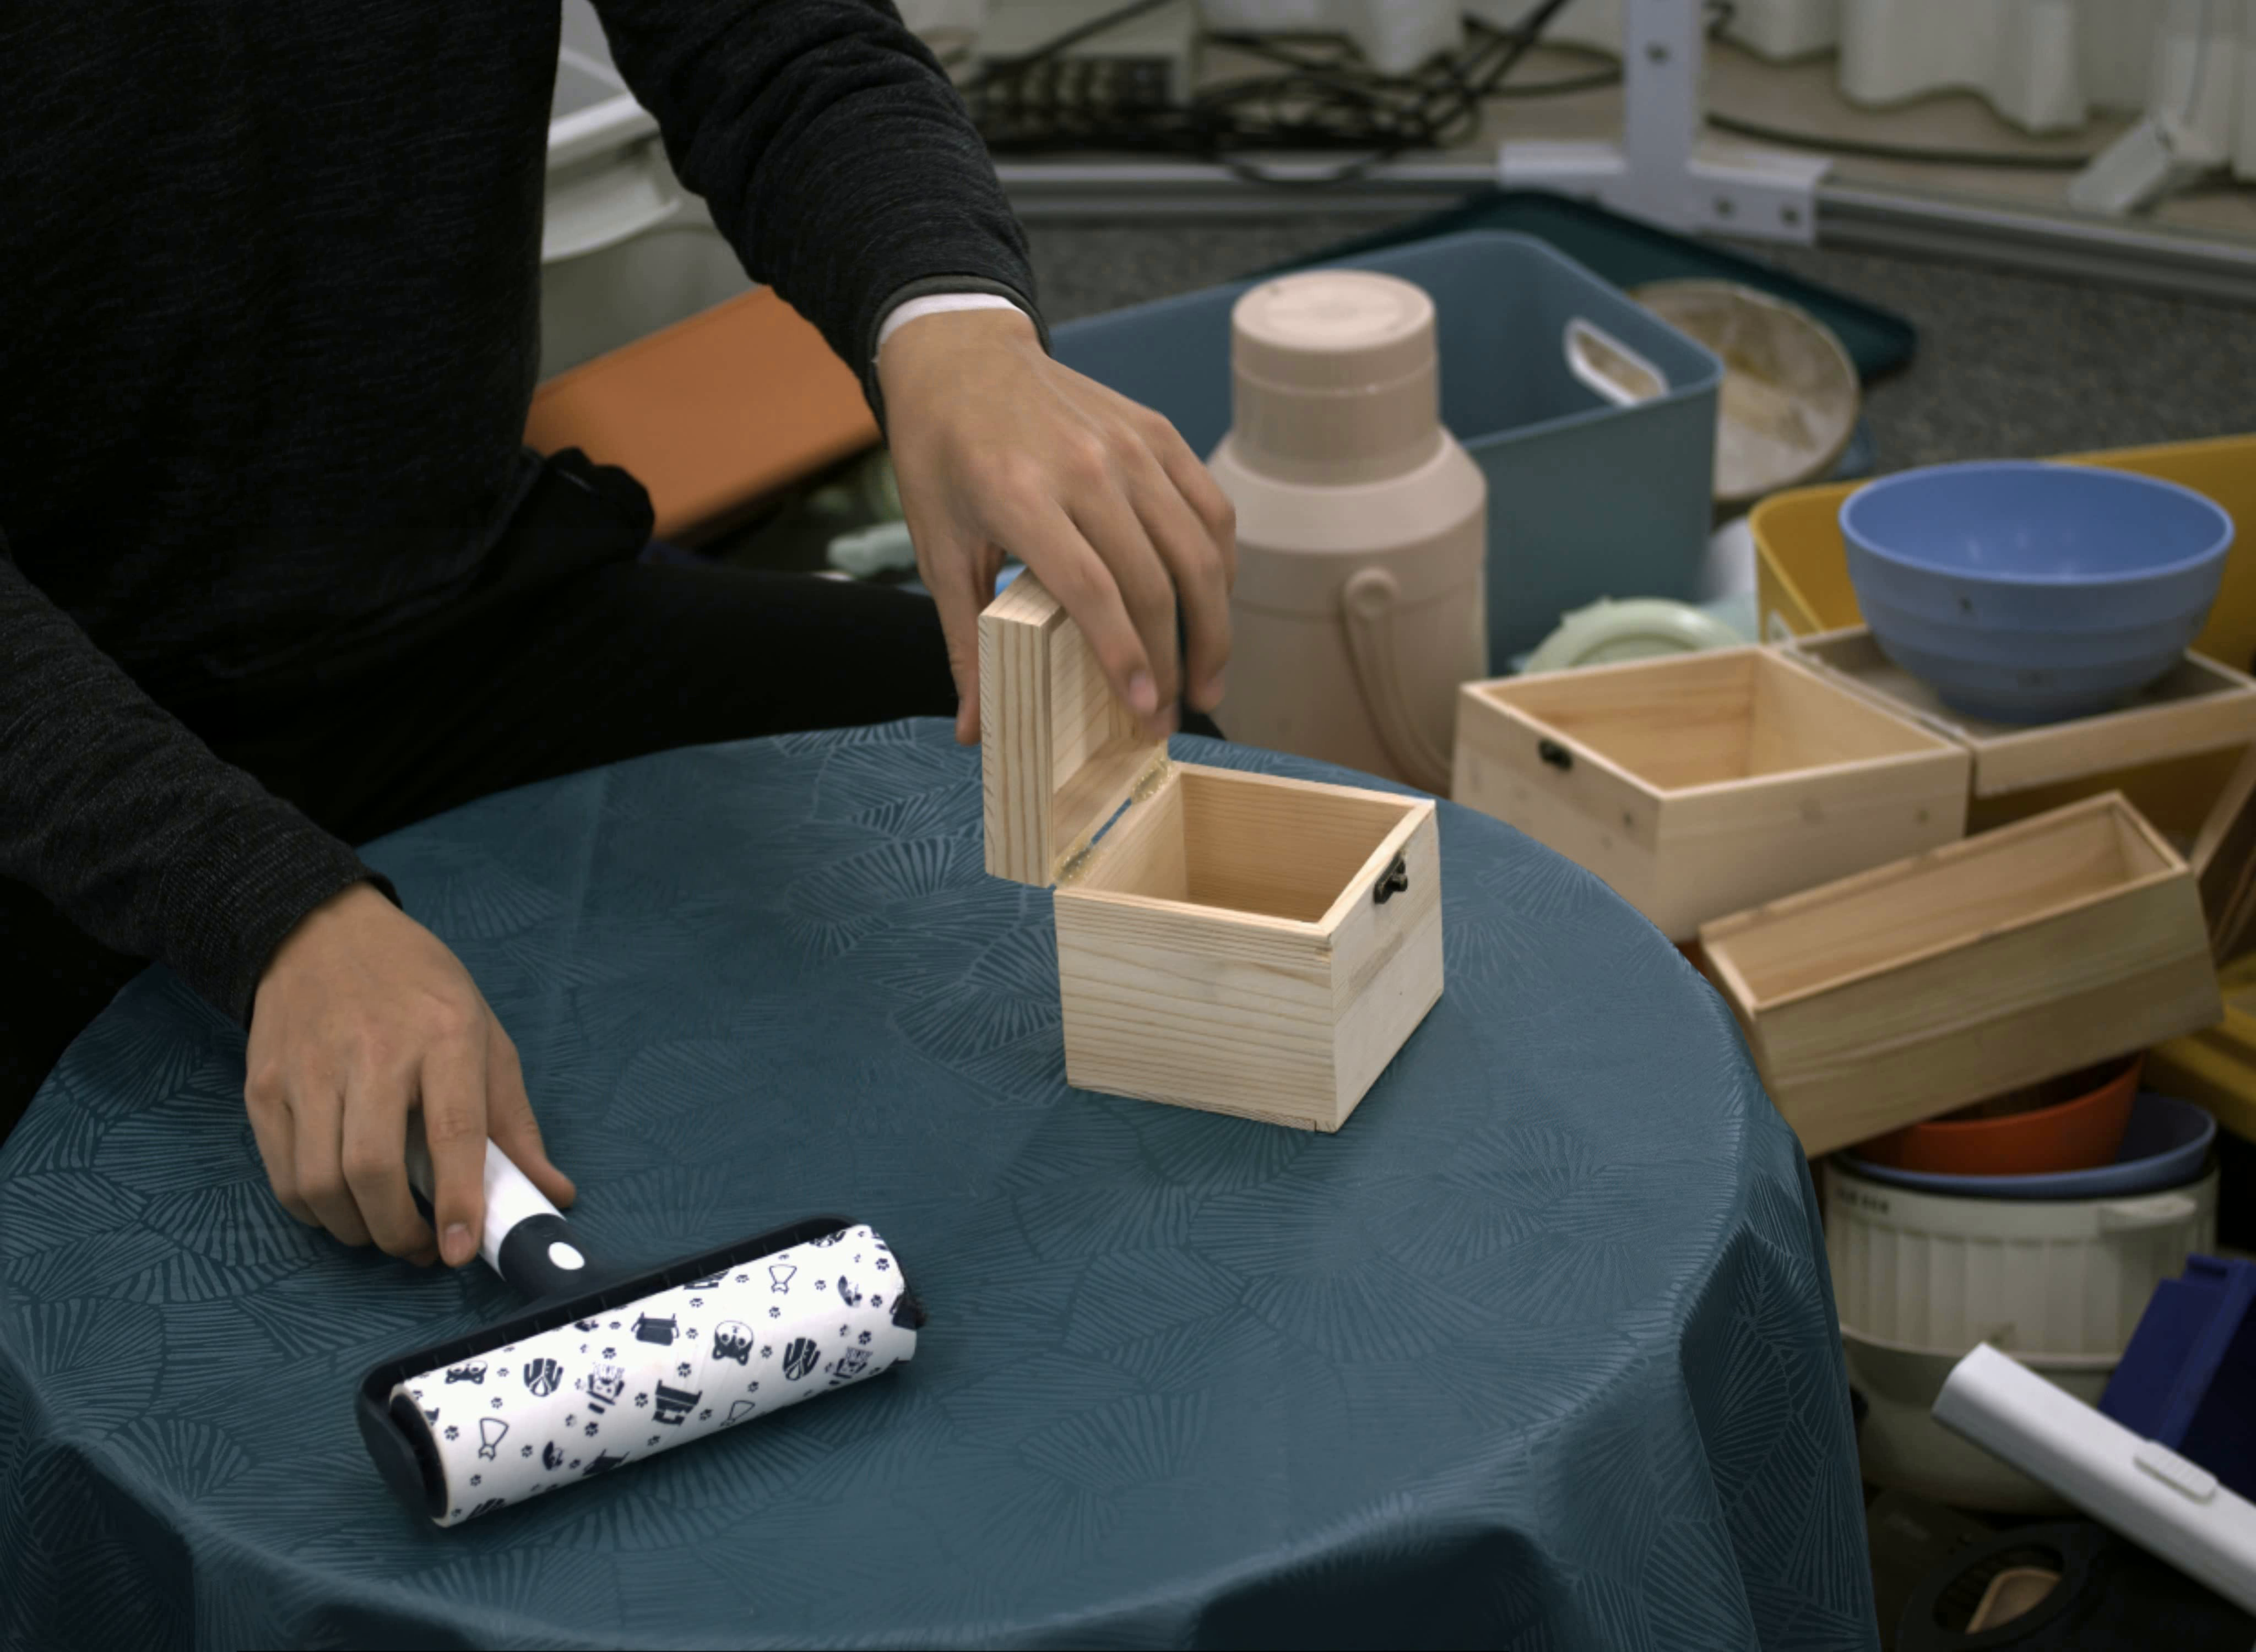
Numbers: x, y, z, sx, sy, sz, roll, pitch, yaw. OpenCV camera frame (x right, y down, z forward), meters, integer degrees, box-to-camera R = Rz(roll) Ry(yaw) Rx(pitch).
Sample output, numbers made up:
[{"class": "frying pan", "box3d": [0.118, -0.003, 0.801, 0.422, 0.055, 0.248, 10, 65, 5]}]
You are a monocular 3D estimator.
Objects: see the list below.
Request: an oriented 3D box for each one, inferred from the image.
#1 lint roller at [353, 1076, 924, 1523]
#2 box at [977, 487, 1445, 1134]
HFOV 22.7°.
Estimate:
[{"class": "lint roller", "box3d": [-0.197, 0.132, 1.814, 0.177, 0.050, 0.248, -18, 30, -25]}, {"class": "box", "box3d": [0.032, -0.007, 1.911, 0.133, 0.182, 0.104, 8, 28, 22]}]
